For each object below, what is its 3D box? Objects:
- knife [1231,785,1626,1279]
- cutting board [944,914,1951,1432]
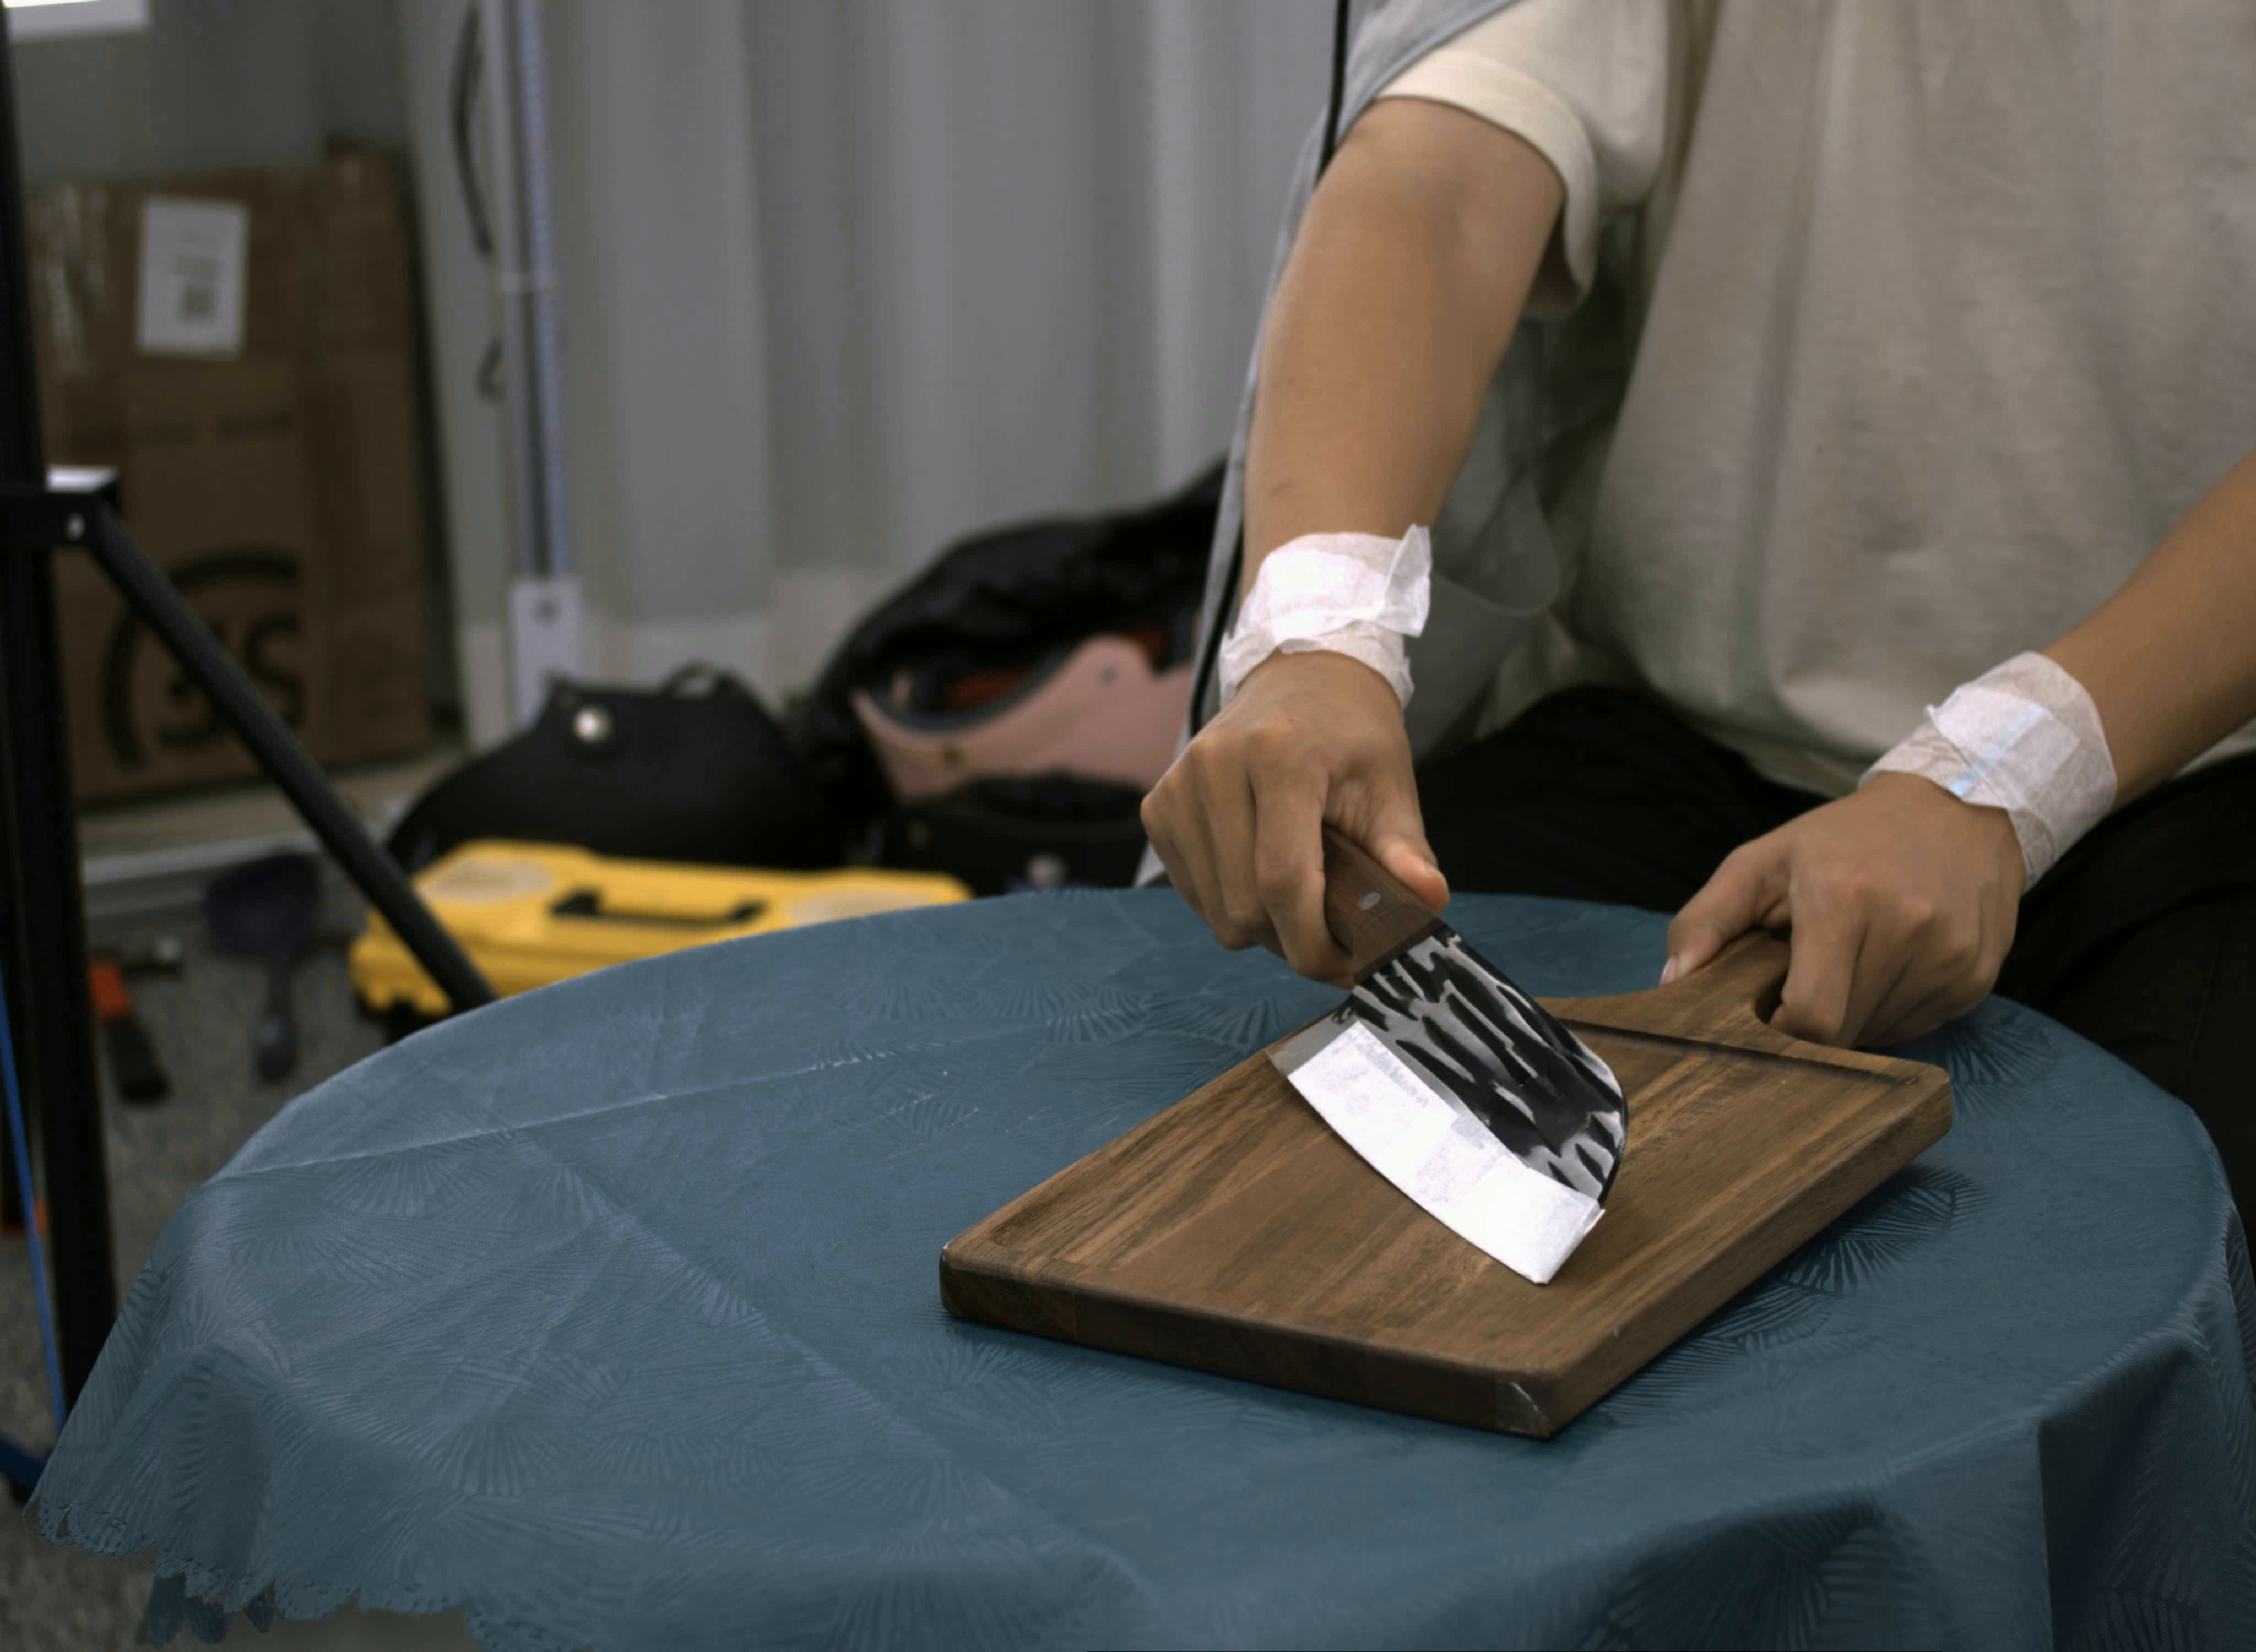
[{"bbox_3d":[0.078,0.057,1.551,0.068,0.023,0.305,-40,28,-3],"label":"knife"},{"bbox_3d":[0.122,0.088,1.539,0.205,0.023,0.345,8,21,33],"label":"cutting board"}]
